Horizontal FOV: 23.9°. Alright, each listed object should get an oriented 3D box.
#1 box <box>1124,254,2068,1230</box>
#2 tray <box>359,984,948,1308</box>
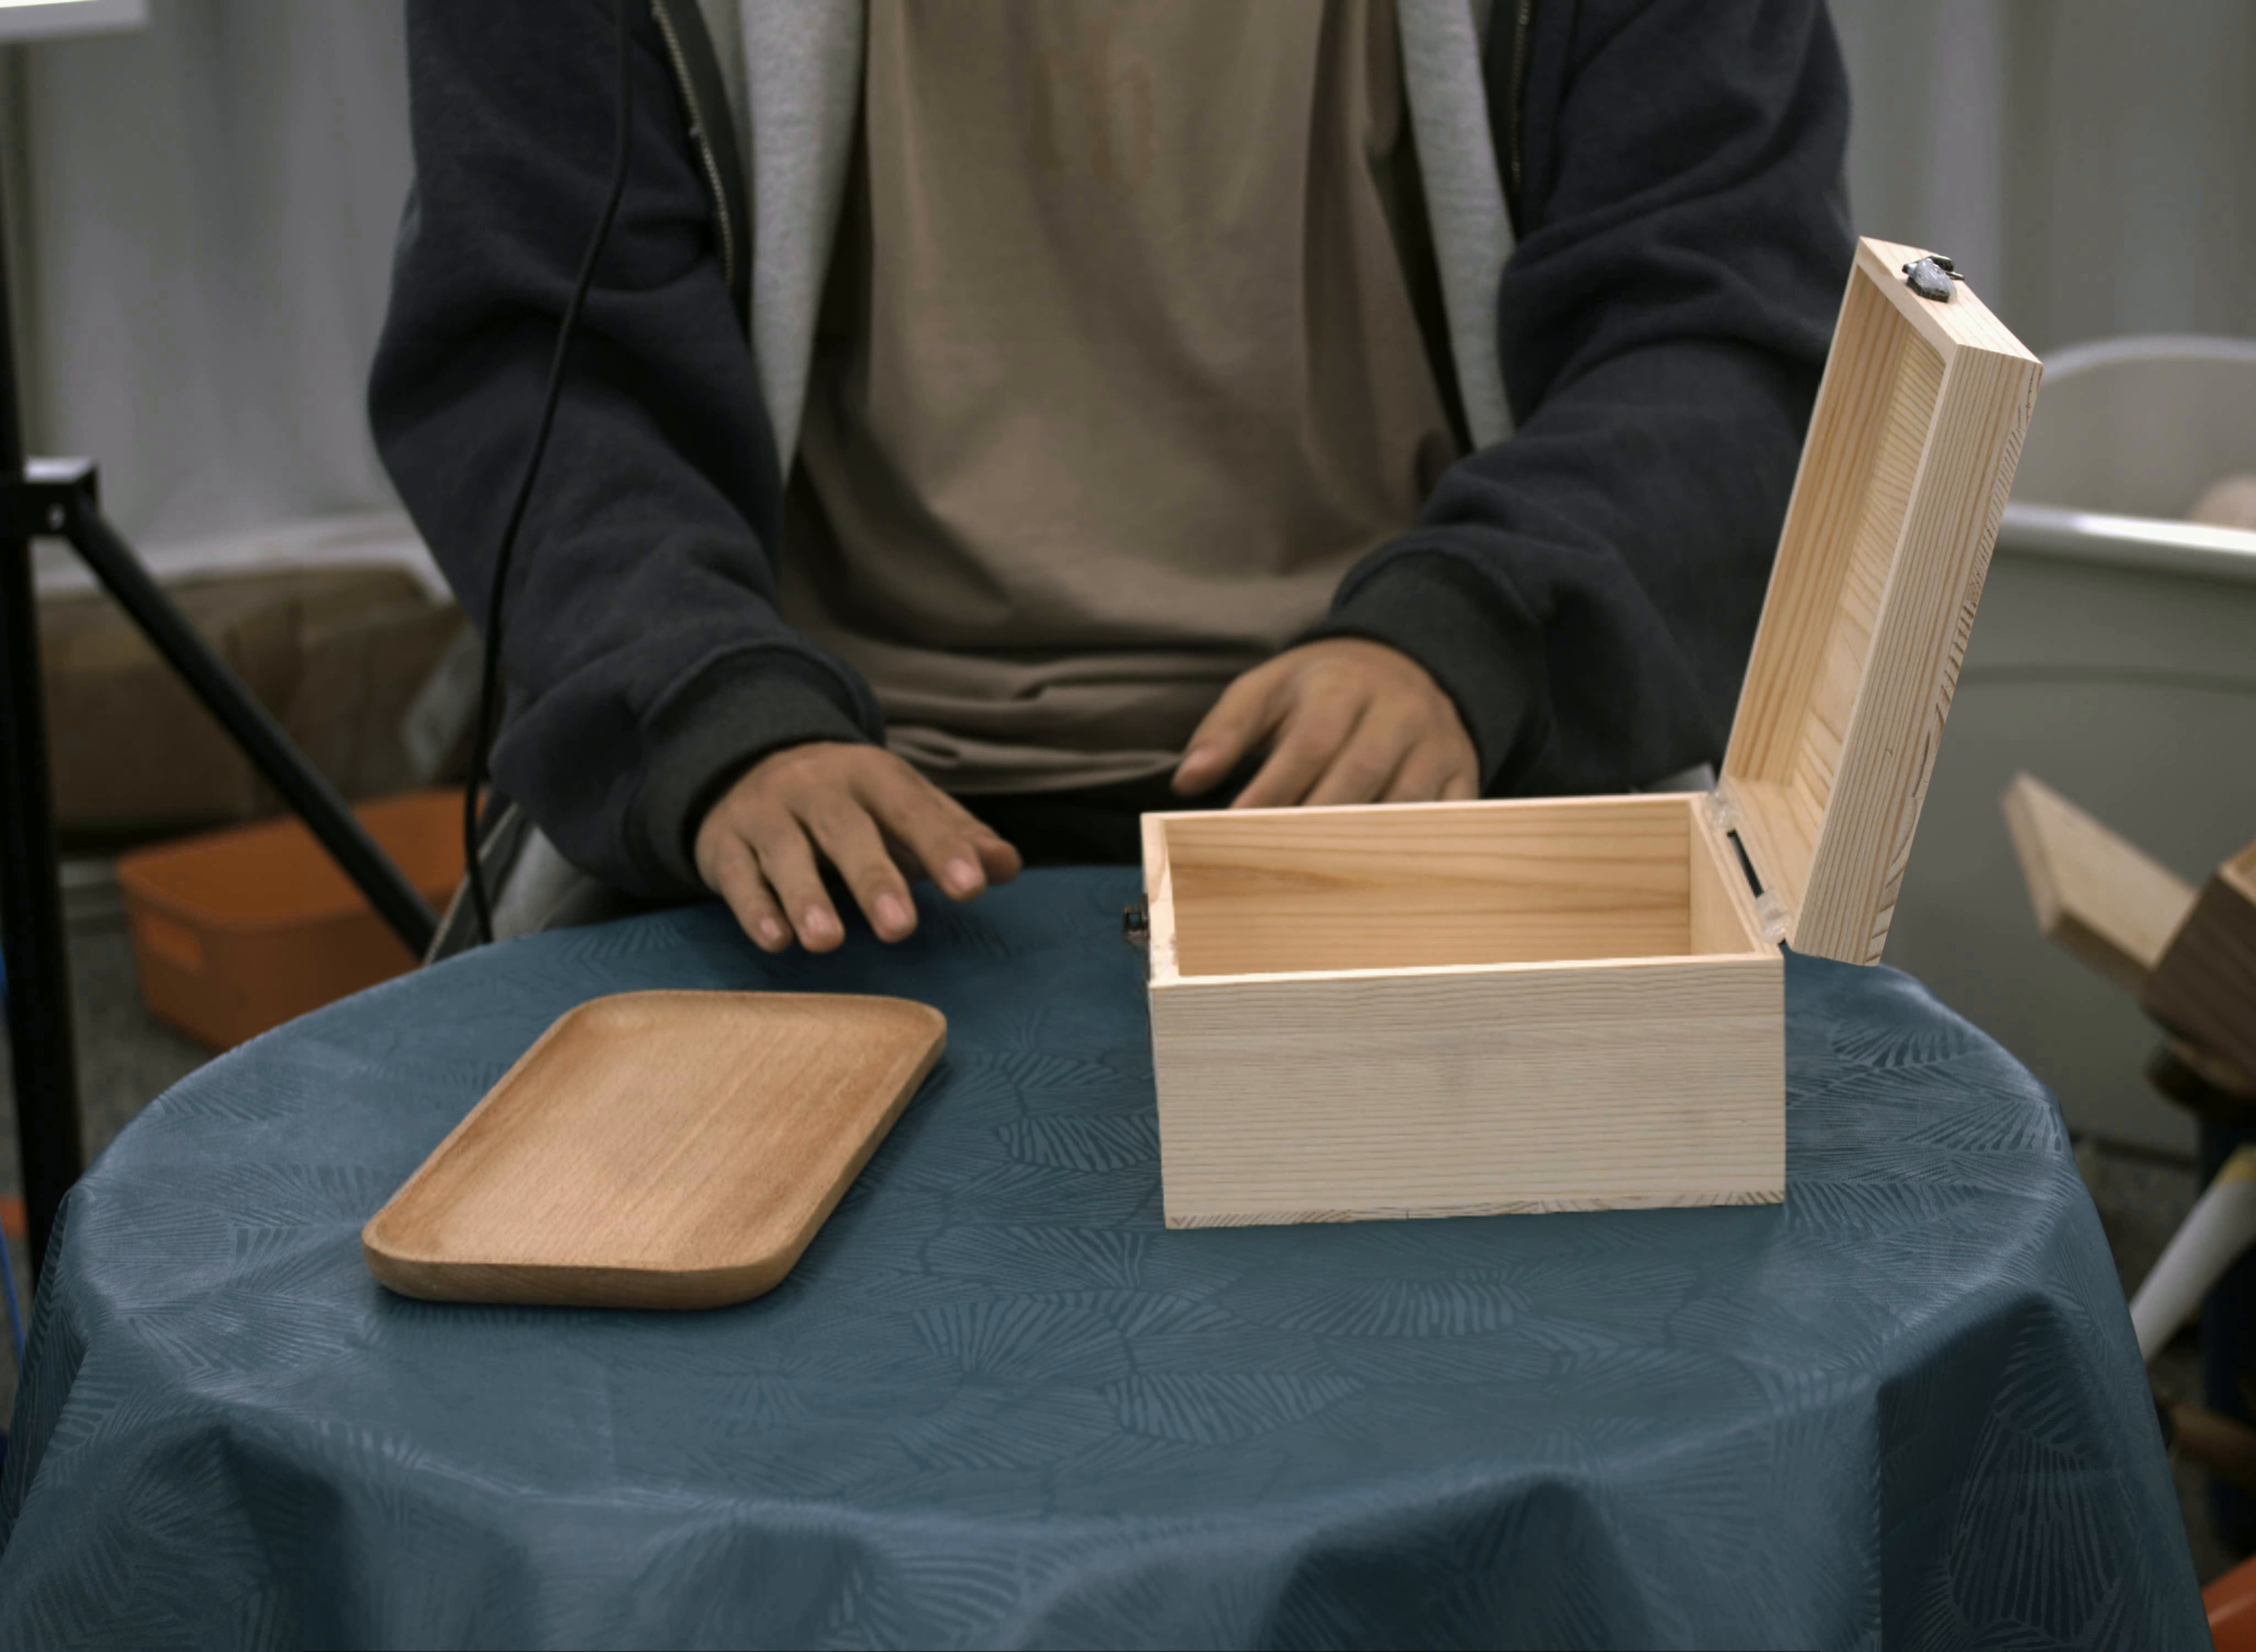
[{"bbox_3d":[0.129,-0.030,1.581,0.264,0.253,0.182,-1,12,0],"label":"box"},{"bbox_3d":[-0.138,0.093,1.602,0.131,0.023,0.249,3,16,11],"label":"tray"}]
